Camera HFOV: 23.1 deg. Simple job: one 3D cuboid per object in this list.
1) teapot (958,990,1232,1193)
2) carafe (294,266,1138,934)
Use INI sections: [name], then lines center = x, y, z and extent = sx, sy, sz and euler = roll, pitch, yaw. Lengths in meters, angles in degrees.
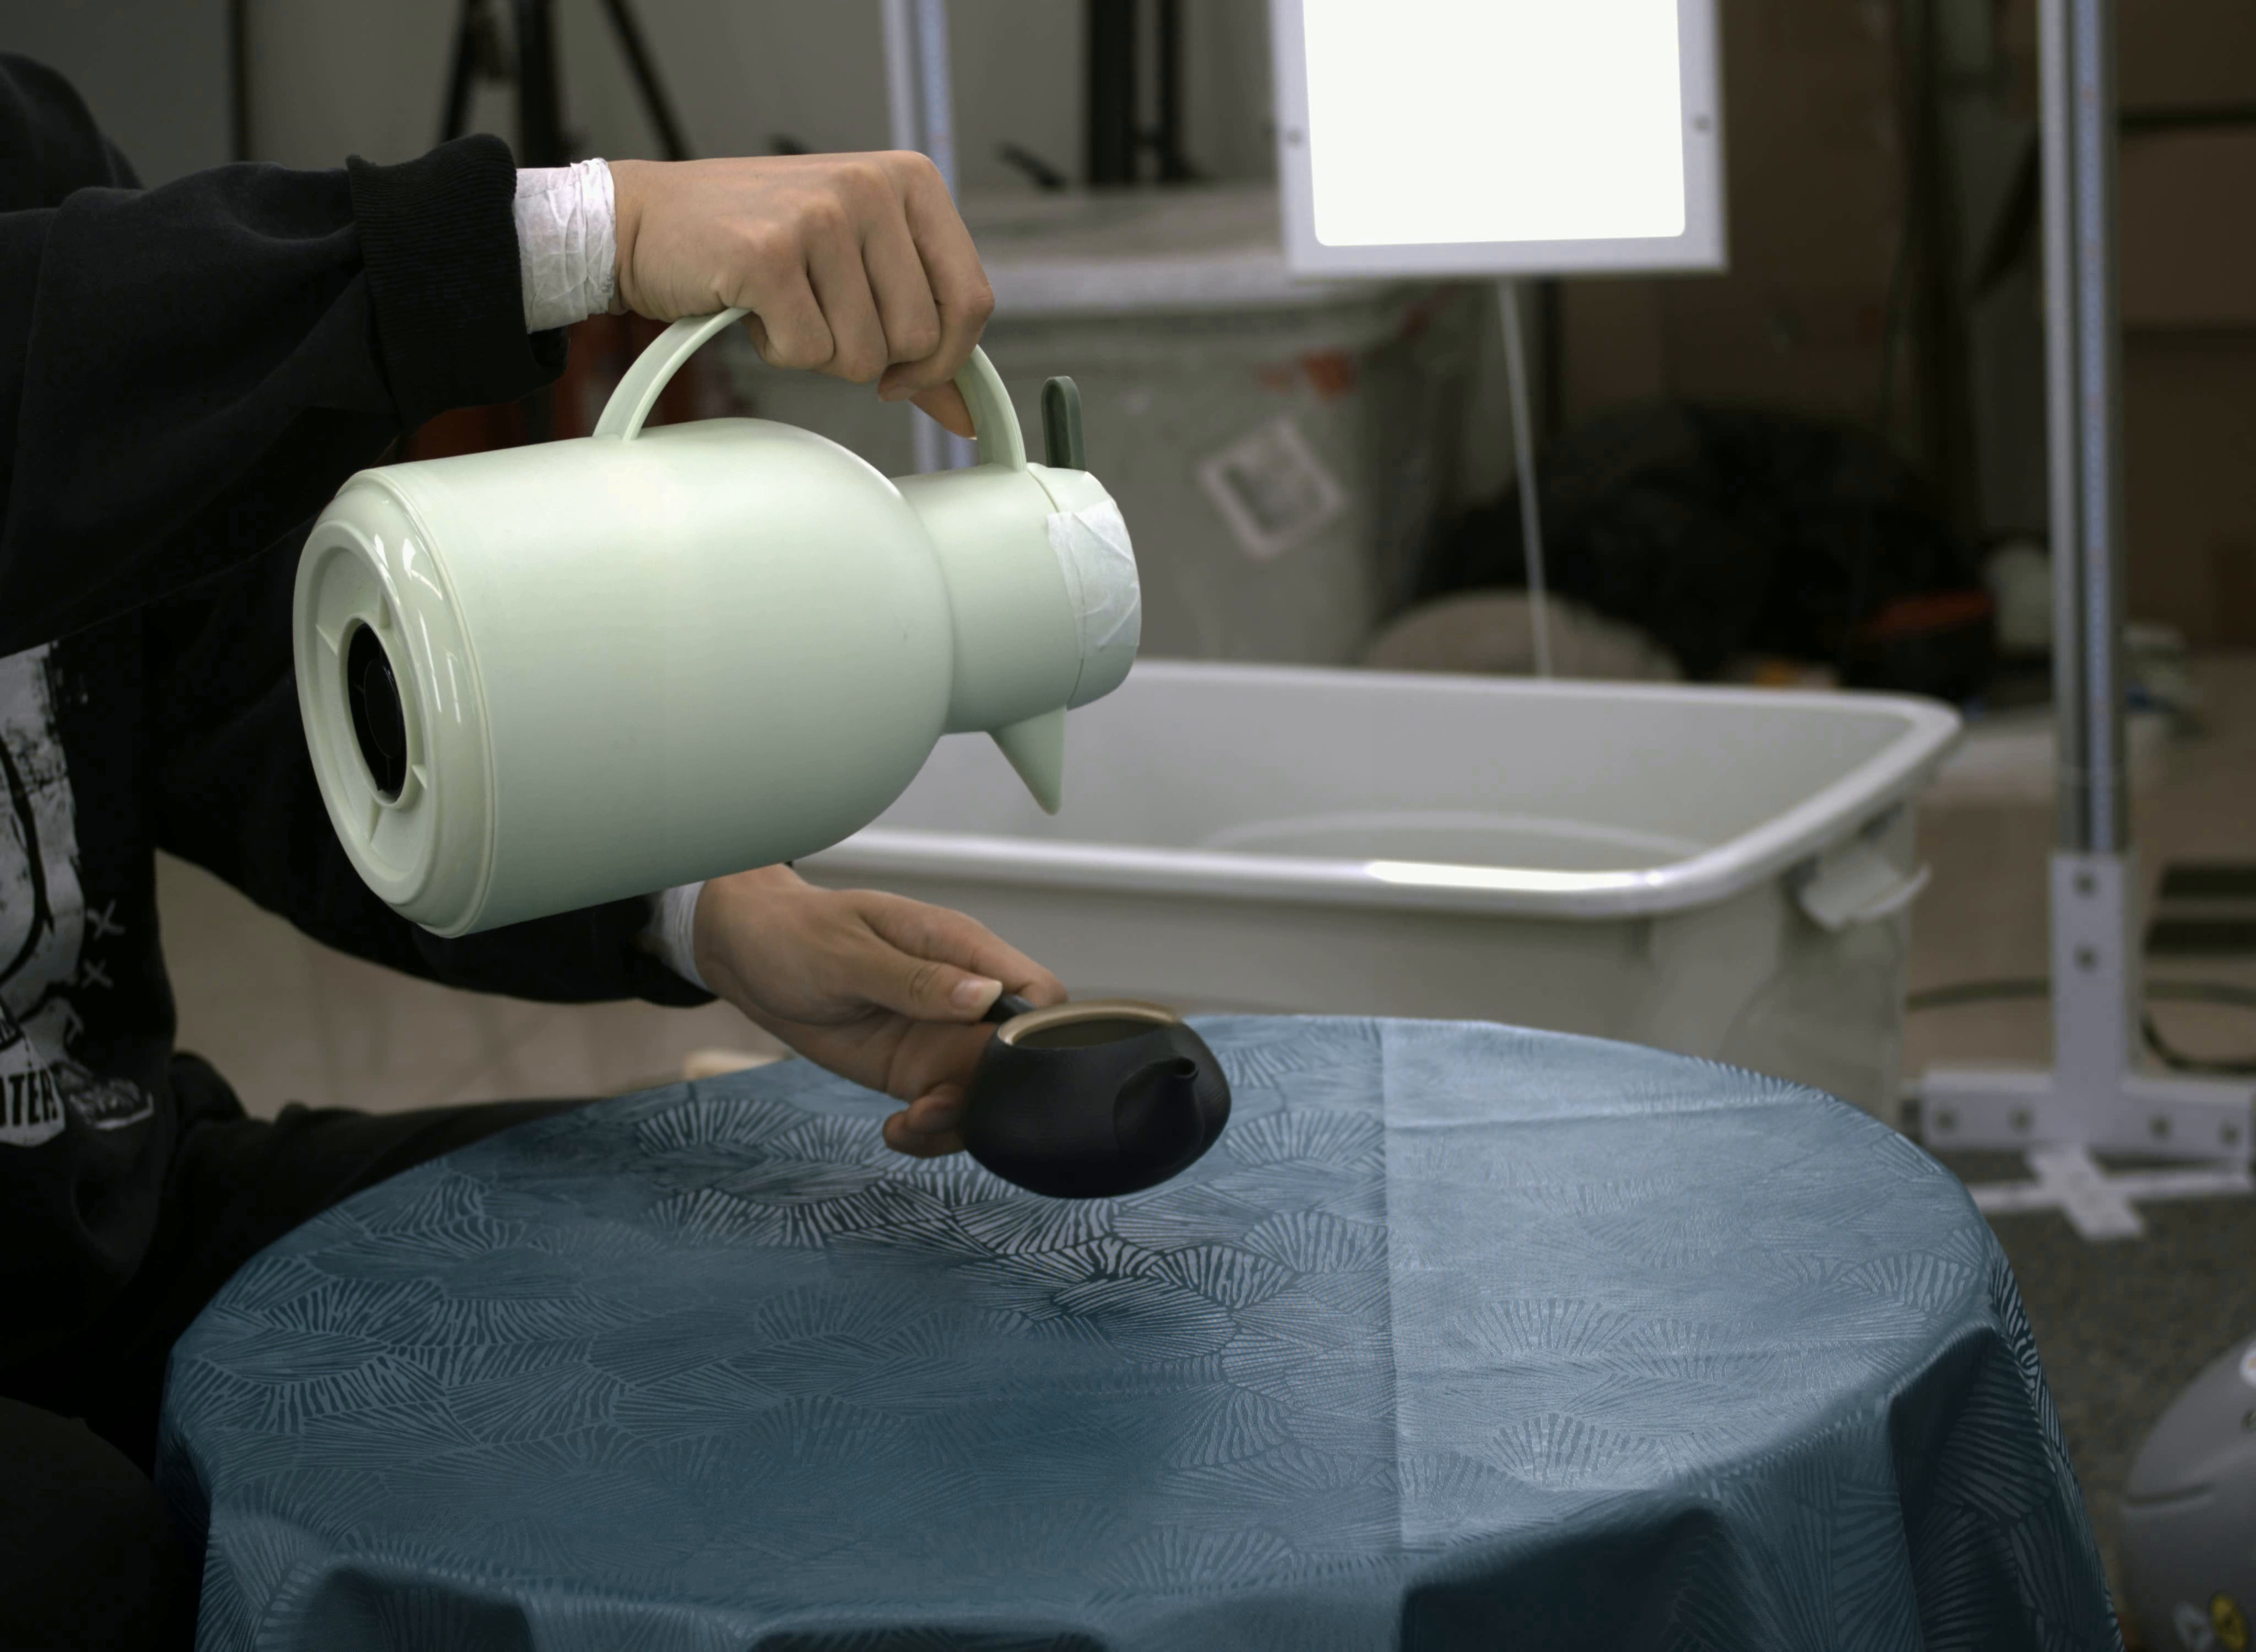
[teapot]
center = -0.011, 0.088, 1.817
extent = 0.089, 0.053, 0.135
euler = -13, 16, -29
[carafe]
center = -0.125, -0.074, 1.726
extent = 0.252, 0.187, 0.146
euler = -15, 10, -23
